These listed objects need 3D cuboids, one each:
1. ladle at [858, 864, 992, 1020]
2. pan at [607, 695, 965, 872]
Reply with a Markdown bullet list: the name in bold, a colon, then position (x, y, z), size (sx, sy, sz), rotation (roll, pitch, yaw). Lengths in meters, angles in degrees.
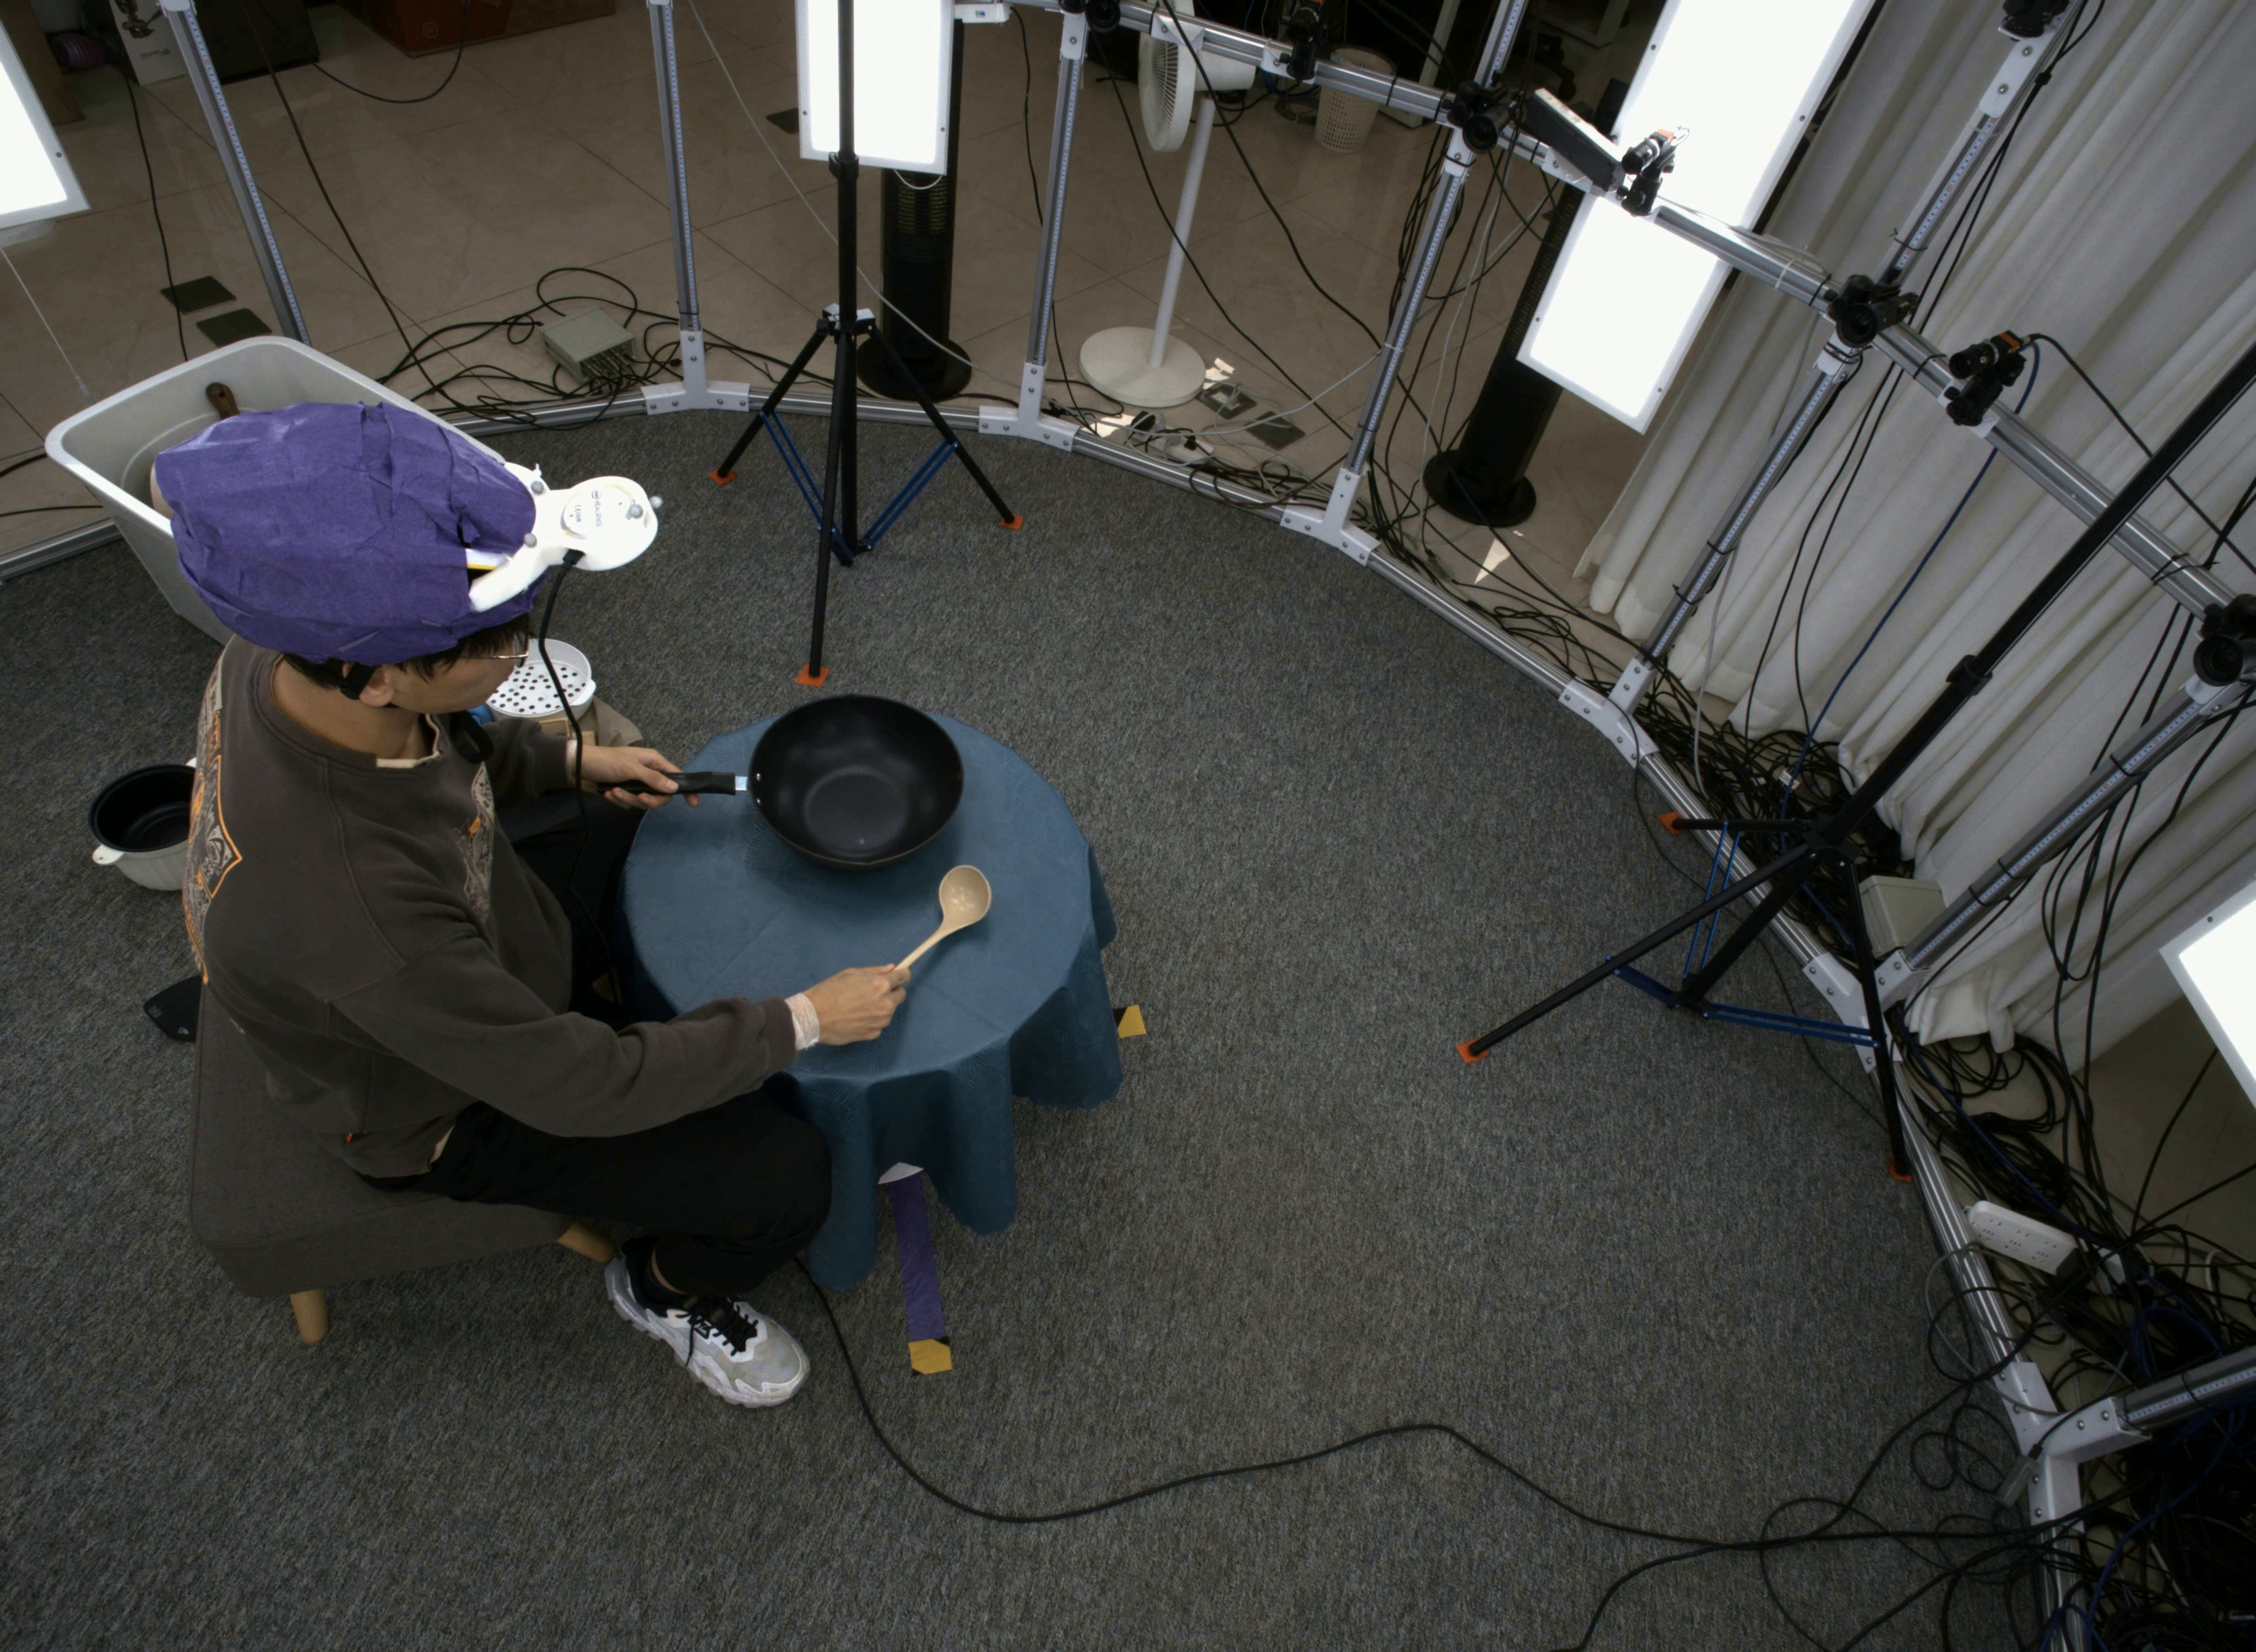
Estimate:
- **ladle**: position (-0.252, 0.134, 1.597), size (0.070, 0.074, 0.254), rotation (26, 39, 14)
- **pan**: position (-0.447, -0.039, 1.708), size (0.464, 0.088, 0.282), rotation (-3, 55, -15)
